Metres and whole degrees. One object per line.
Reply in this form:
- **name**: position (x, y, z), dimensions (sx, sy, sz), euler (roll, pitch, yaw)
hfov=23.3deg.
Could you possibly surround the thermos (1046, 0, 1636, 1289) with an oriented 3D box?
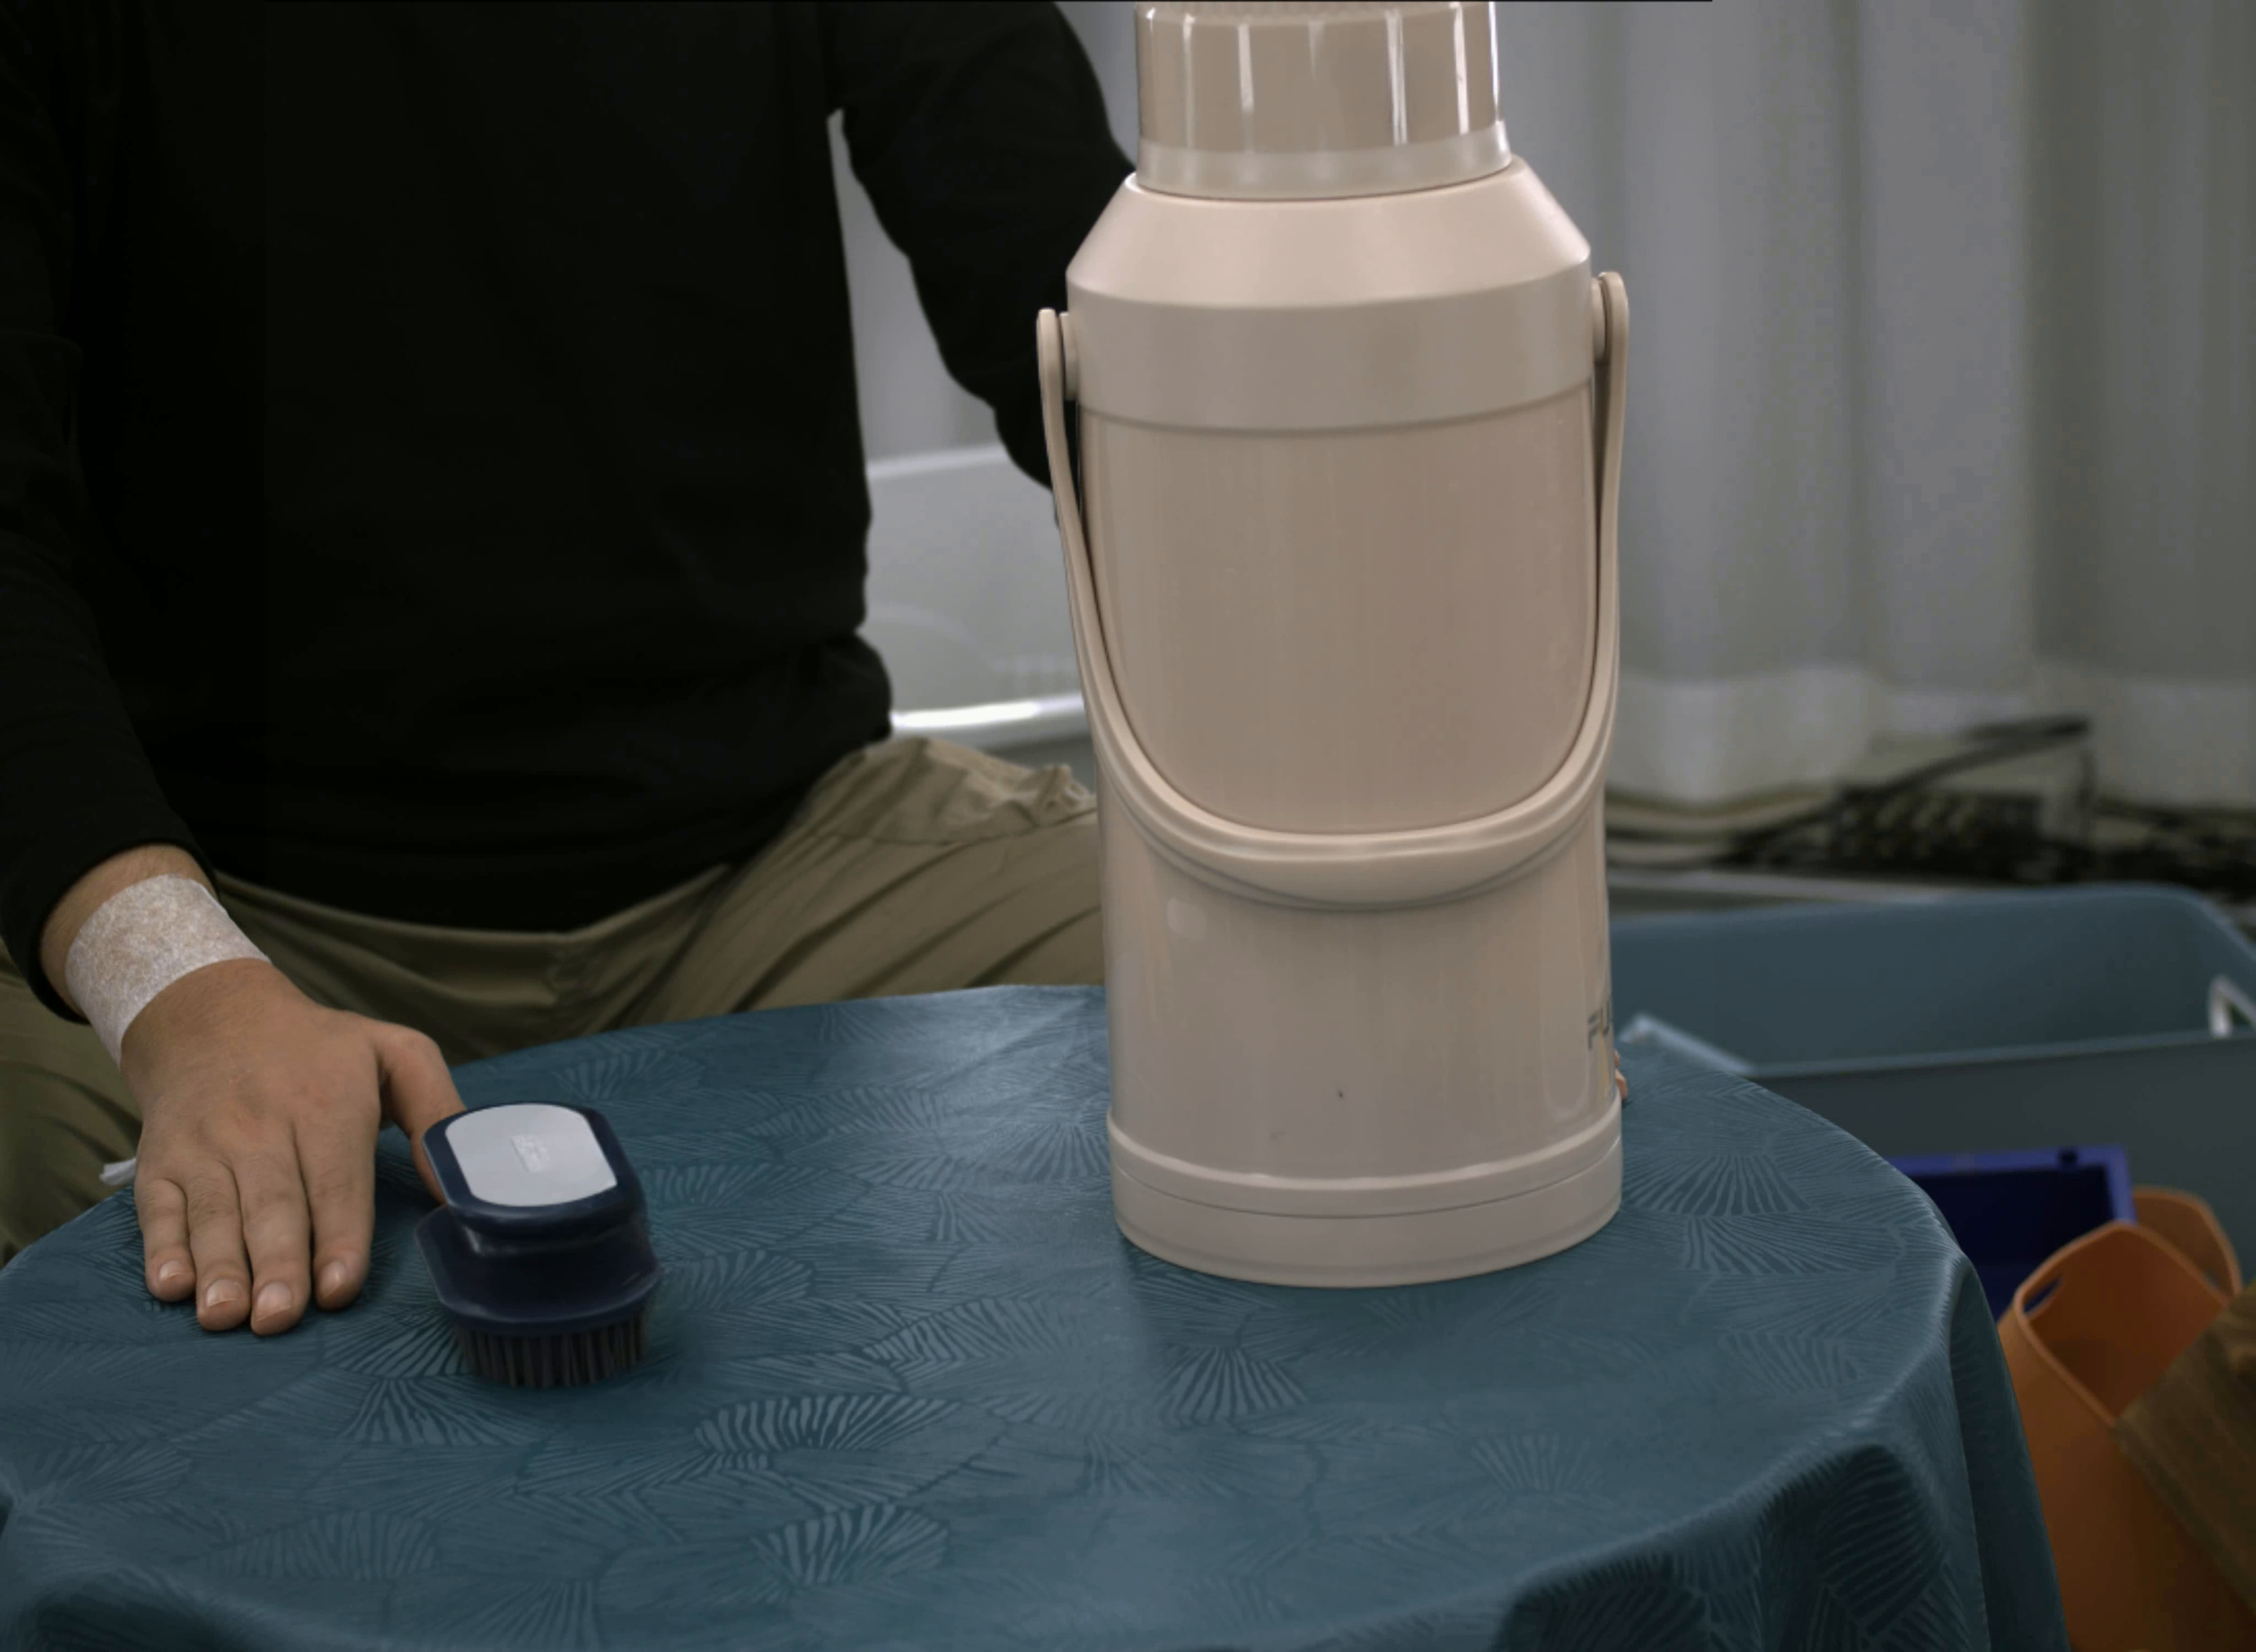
- **thermos**: position (0.067, -0.078, 1.661), dimensions (0.174, 0.405, 0.208), euler (-5, 14, -4)

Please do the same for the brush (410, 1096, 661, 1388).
- **brush**: position (-0.175, 0.124, 1.612), dimensions (0.067, 0.061, 0.122), euler (-5, 15, -11)
